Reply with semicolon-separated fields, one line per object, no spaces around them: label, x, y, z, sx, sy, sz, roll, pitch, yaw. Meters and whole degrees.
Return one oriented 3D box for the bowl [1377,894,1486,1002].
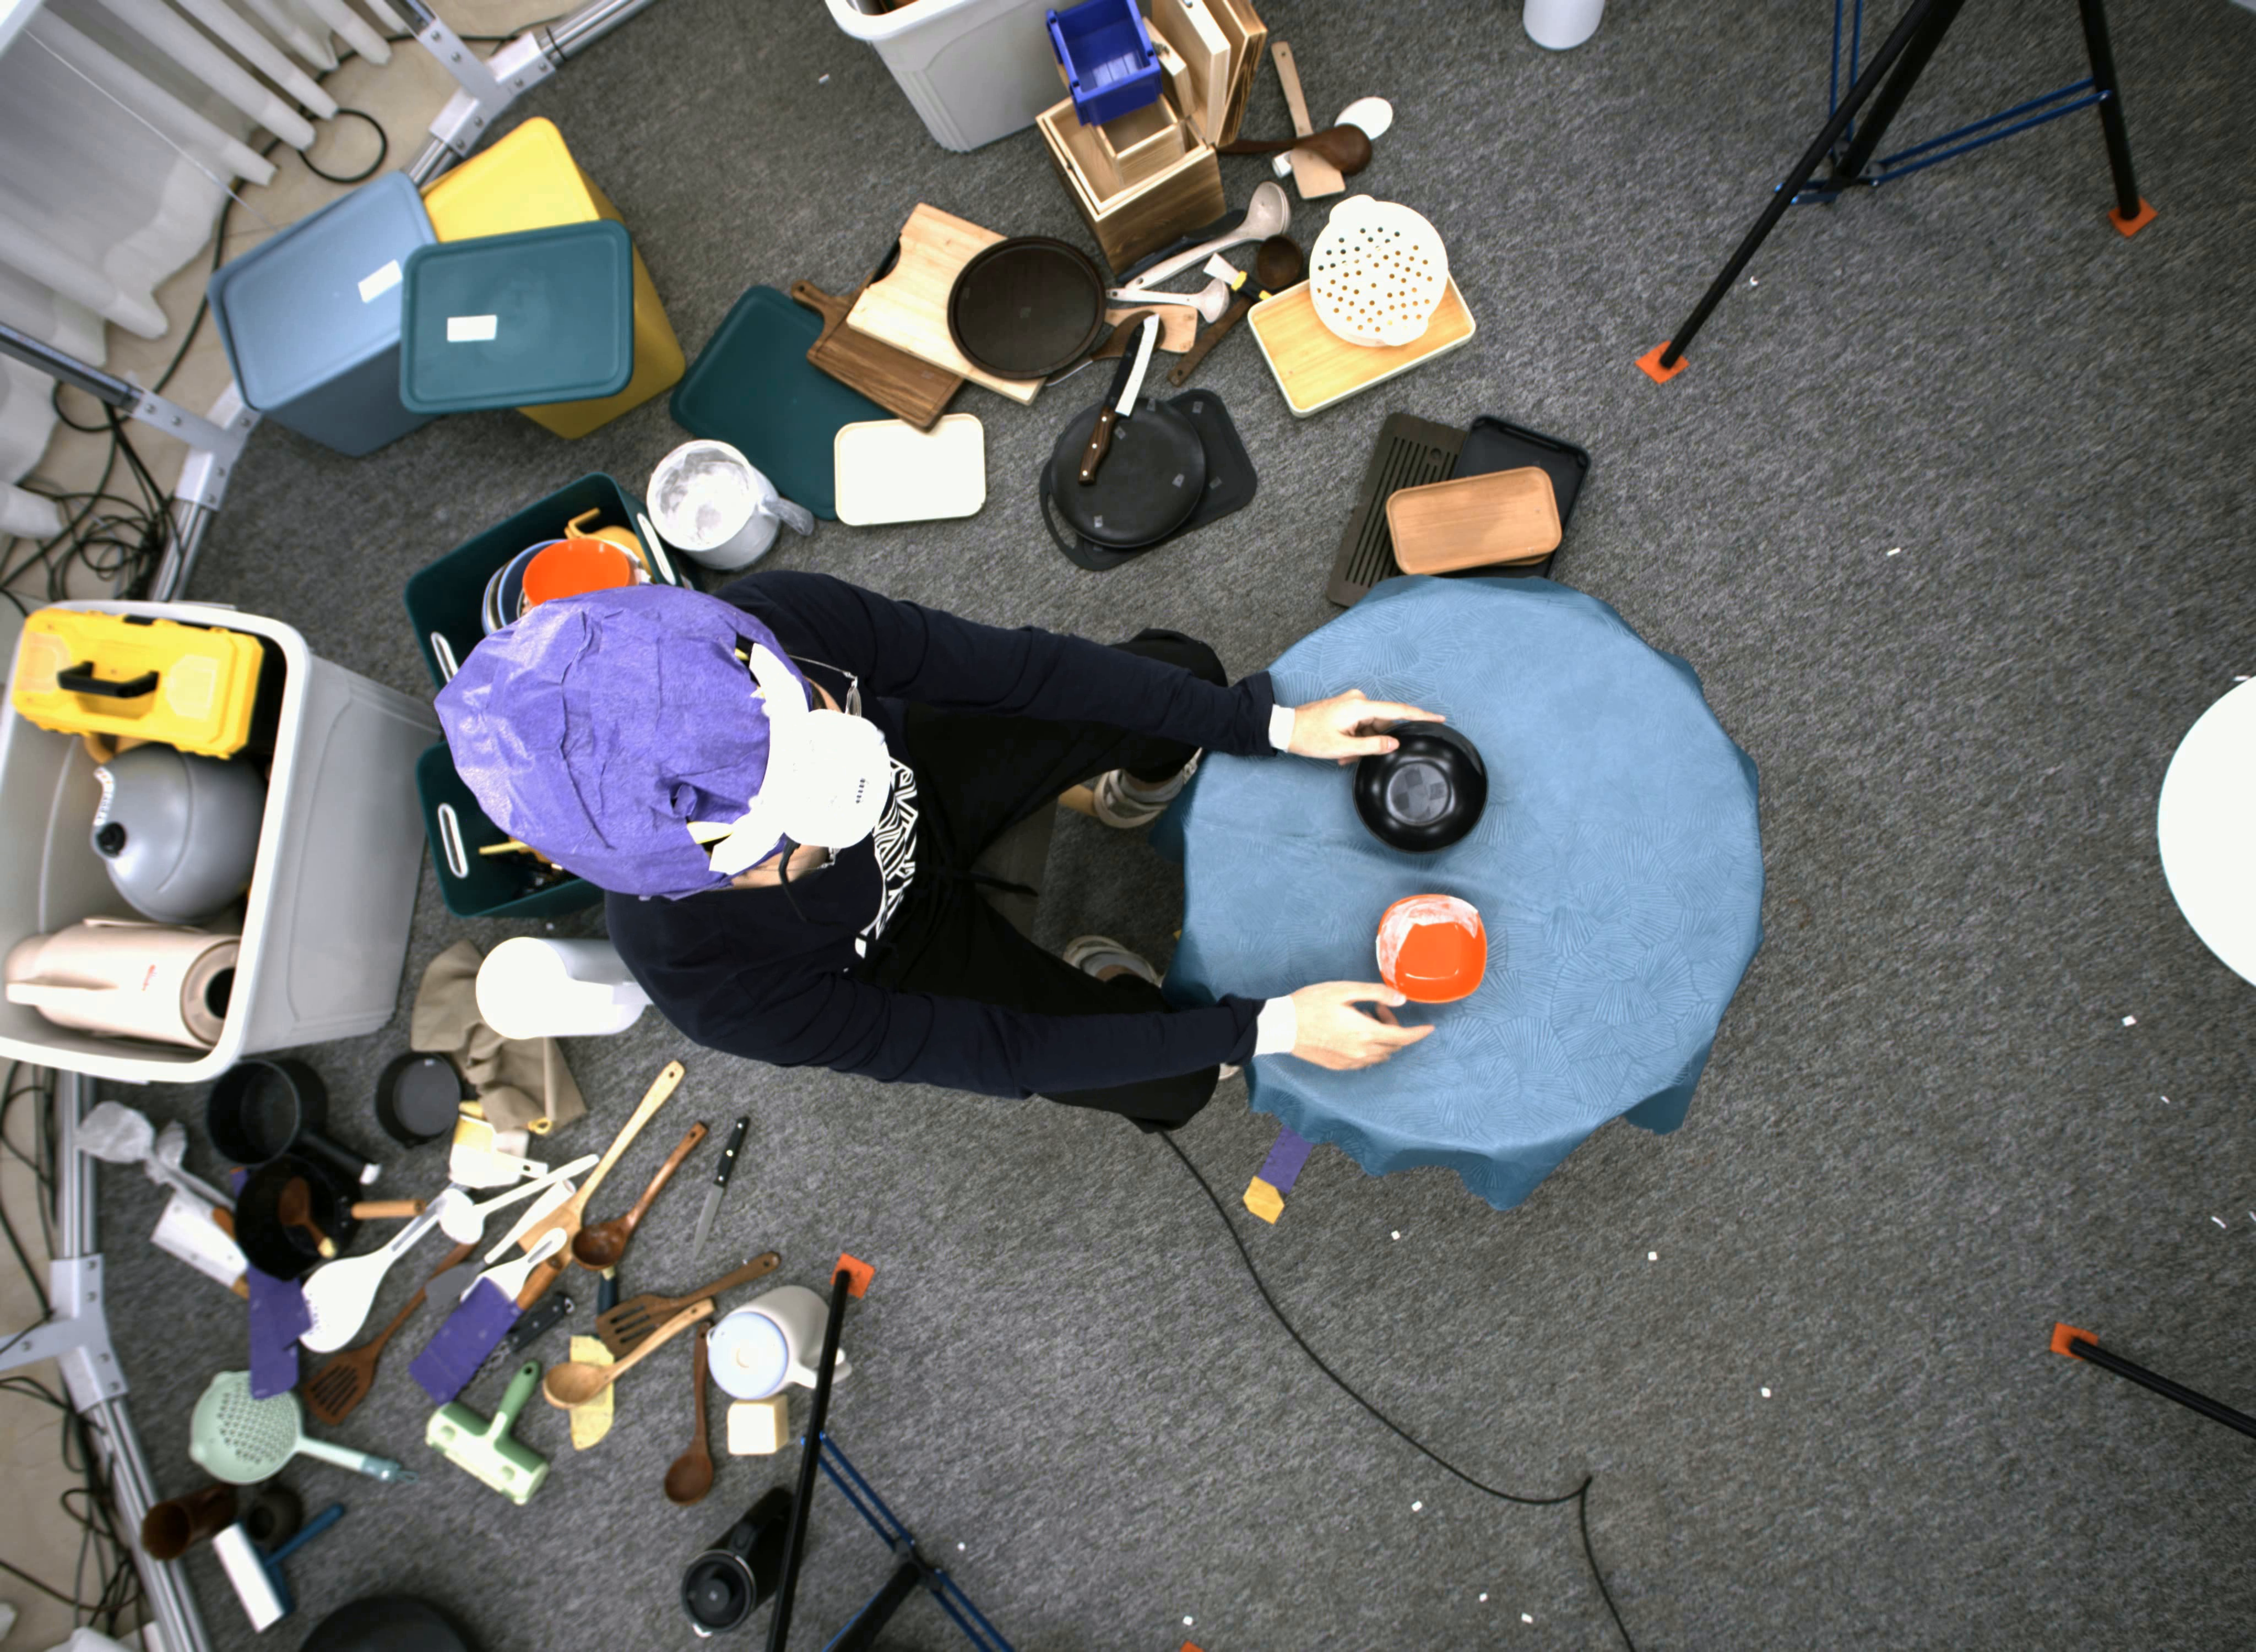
bowl;0.311;0.124;1.422;0.119;0.051;0.118;-1;88;9

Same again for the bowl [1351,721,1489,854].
bowl;0.305;-0.039;1.437;0.141;0.050;0.139;-1;86;14
